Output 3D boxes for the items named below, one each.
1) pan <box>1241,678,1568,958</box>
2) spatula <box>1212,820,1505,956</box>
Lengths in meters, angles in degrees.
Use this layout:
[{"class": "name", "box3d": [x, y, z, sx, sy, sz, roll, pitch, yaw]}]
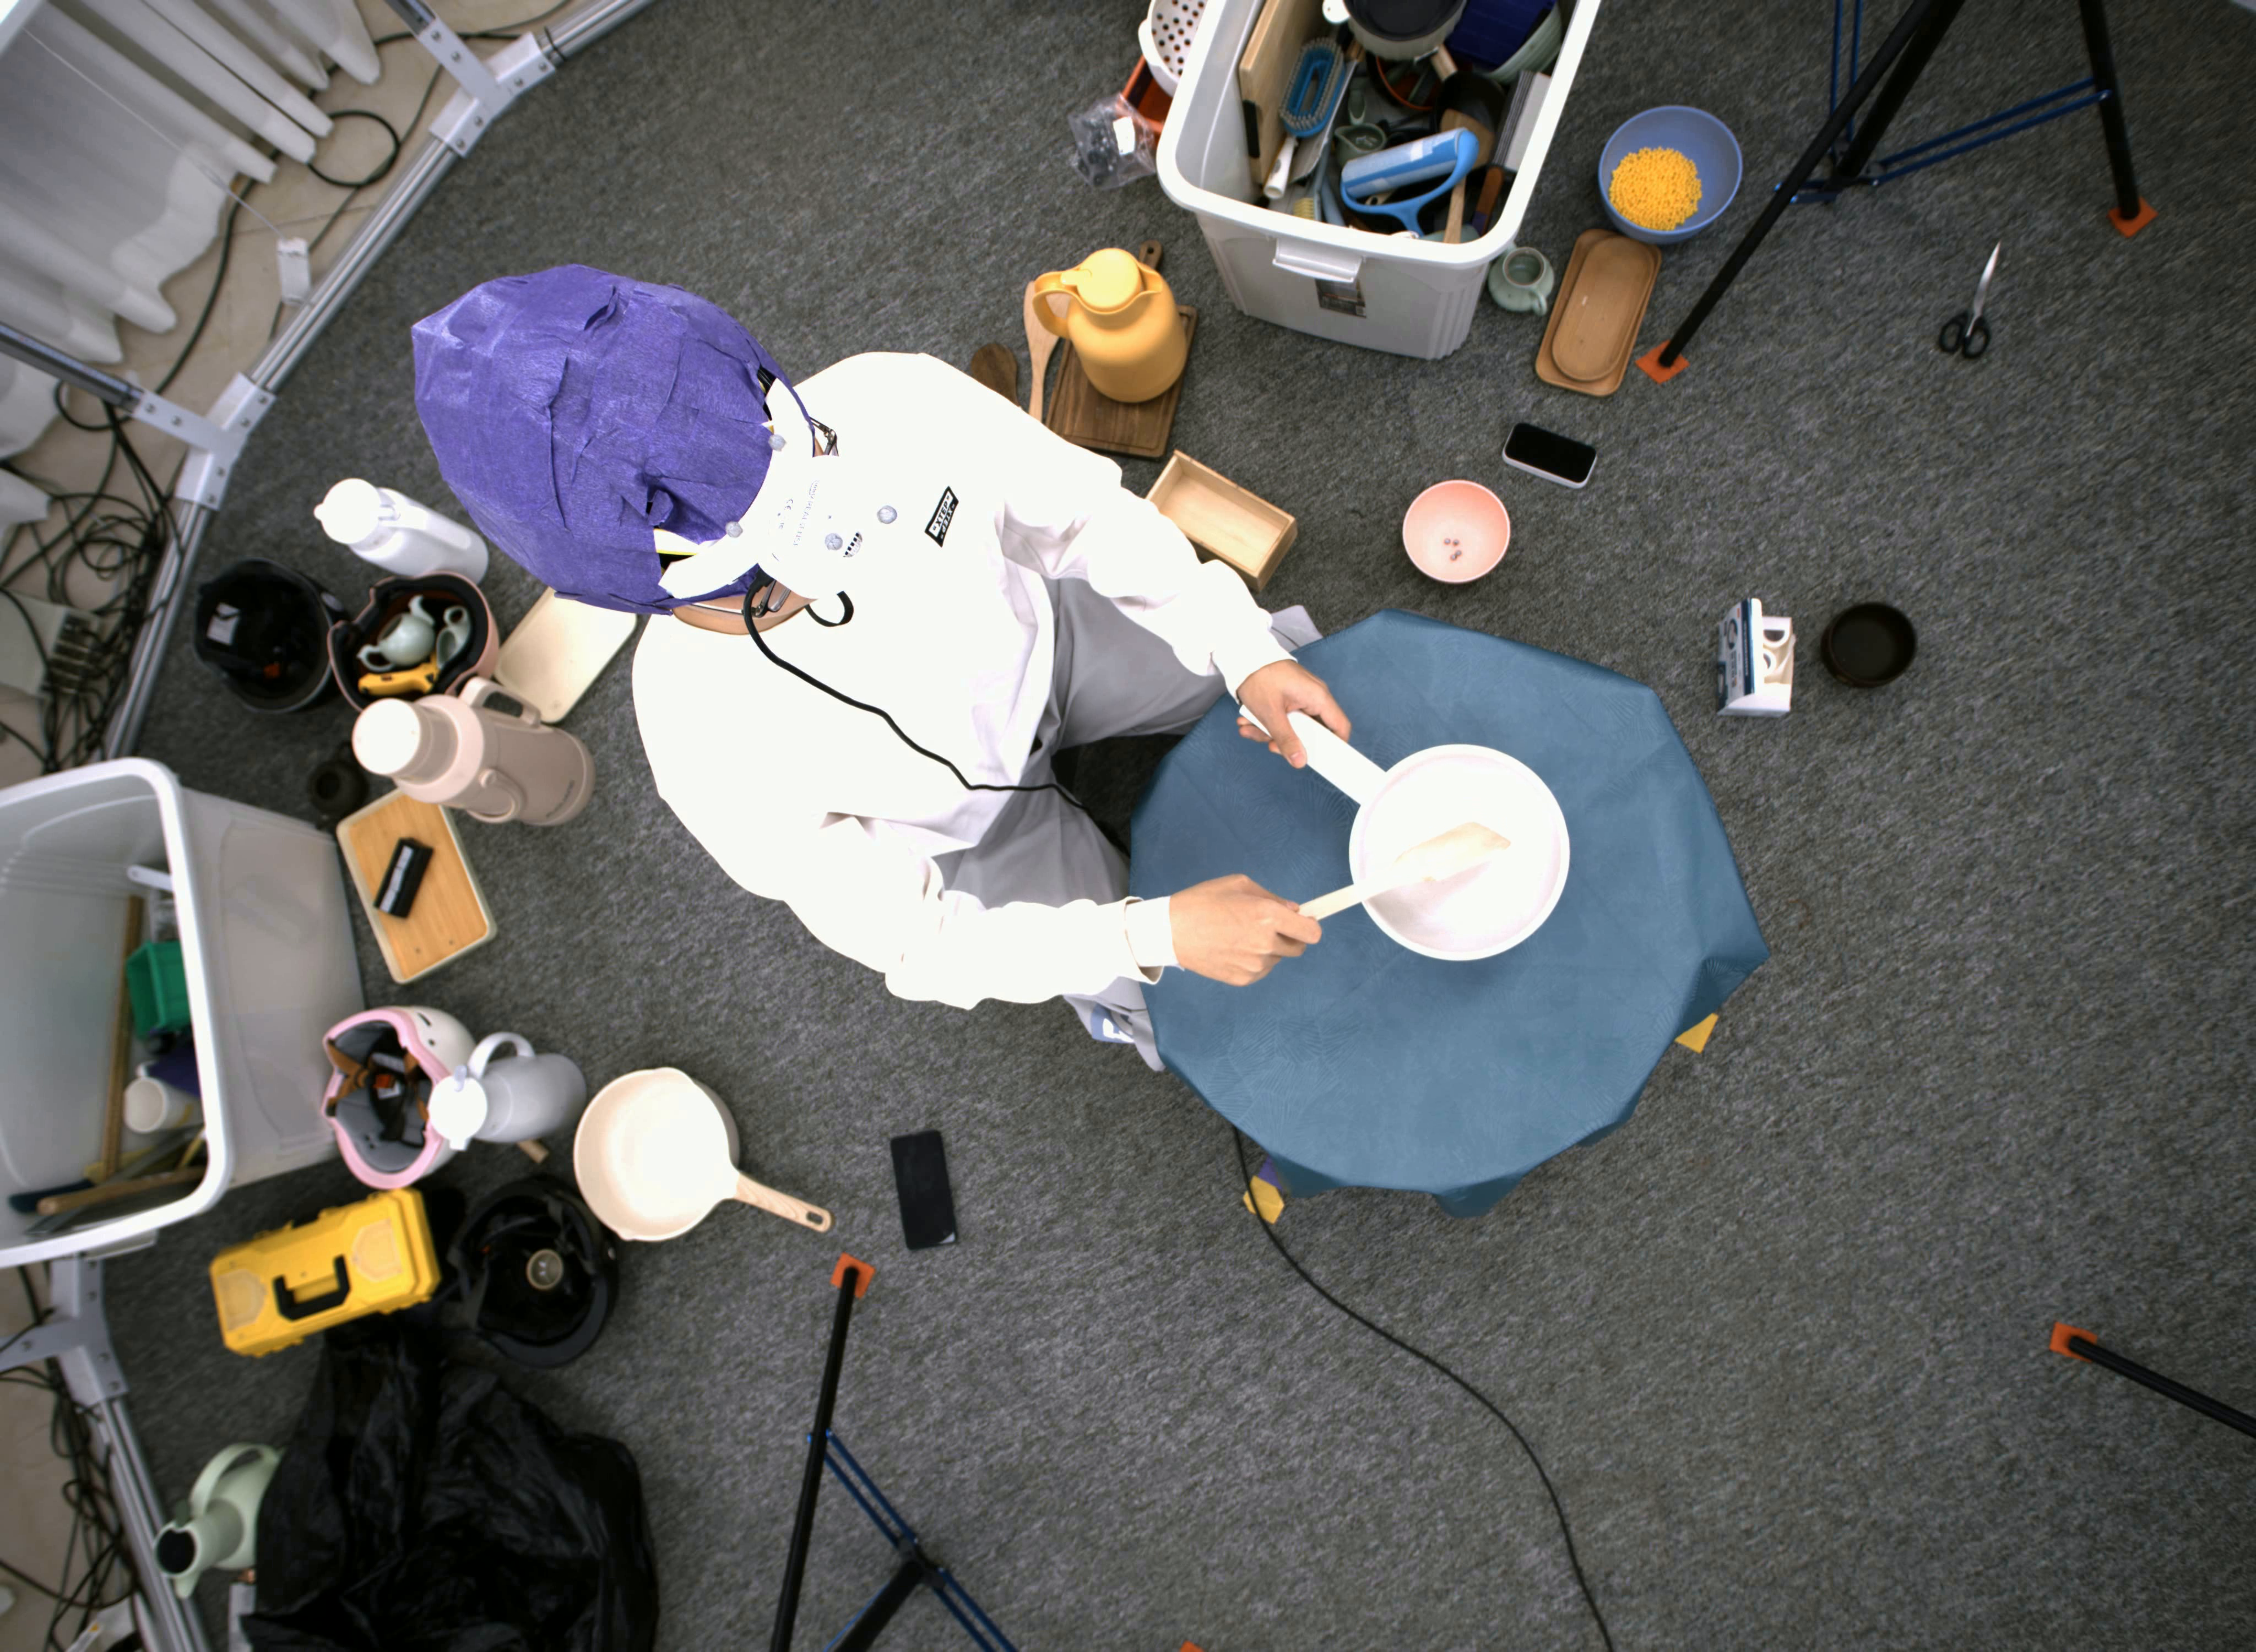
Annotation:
[{"class": "pan", "box3d": [0.264, -0.022, 1.347, 0.352, 0.102, 0.203, 39, 102, 17]}, {"class": "spatula", "box3d": [0.210, 0.059, 1.277, 0.291, 0.071, 0.011, -22, 117, -11]}]
